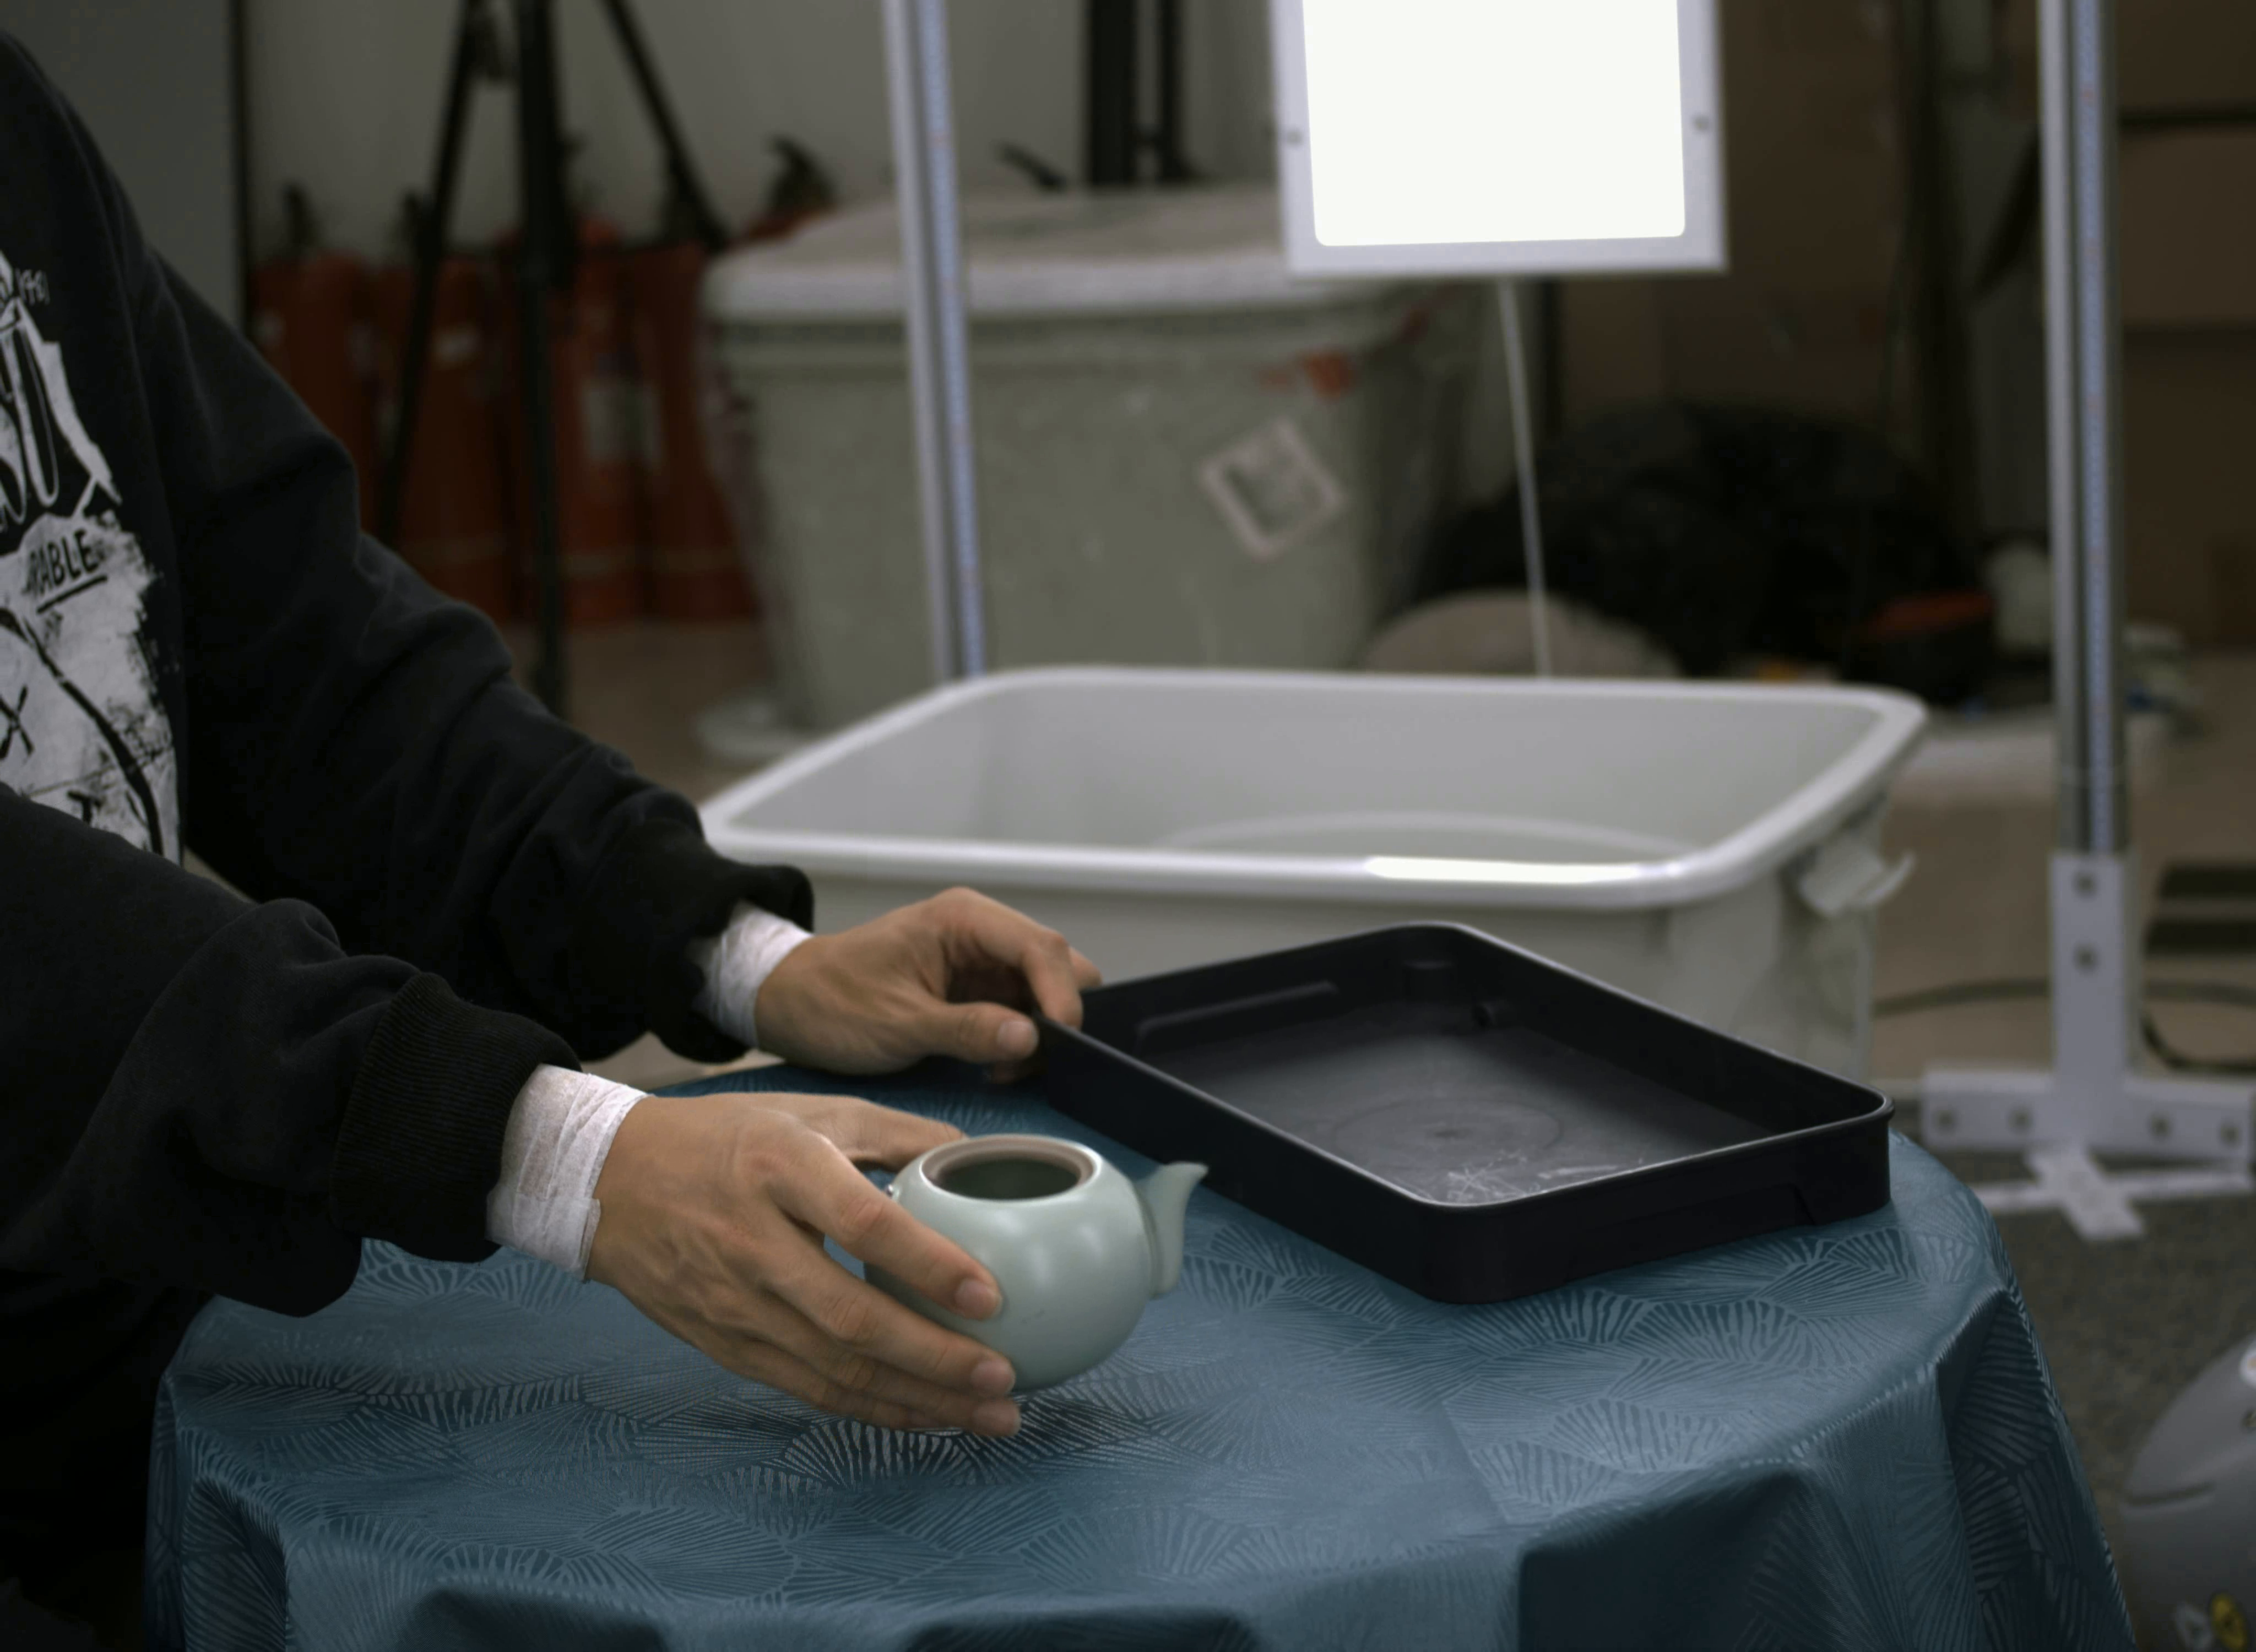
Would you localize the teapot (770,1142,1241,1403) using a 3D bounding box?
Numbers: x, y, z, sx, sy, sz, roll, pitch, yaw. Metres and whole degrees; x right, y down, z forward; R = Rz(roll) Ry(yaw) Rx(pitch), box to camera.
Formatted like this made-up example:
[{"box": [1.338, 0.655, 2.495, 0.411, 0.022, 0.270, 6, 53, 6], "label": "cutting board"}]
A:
[{"box": [-0.037, 0.133, 1.672, 0.142, 0.075, 0.088, 0, 17, -6], "label": "teapot"}]

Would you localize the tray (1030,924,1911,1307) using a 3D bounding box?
[{"box": [0.113, 0.096, 1.907, 0.180, 0.037, 0.323, -12, 15, -26], "label": "tray"}]
